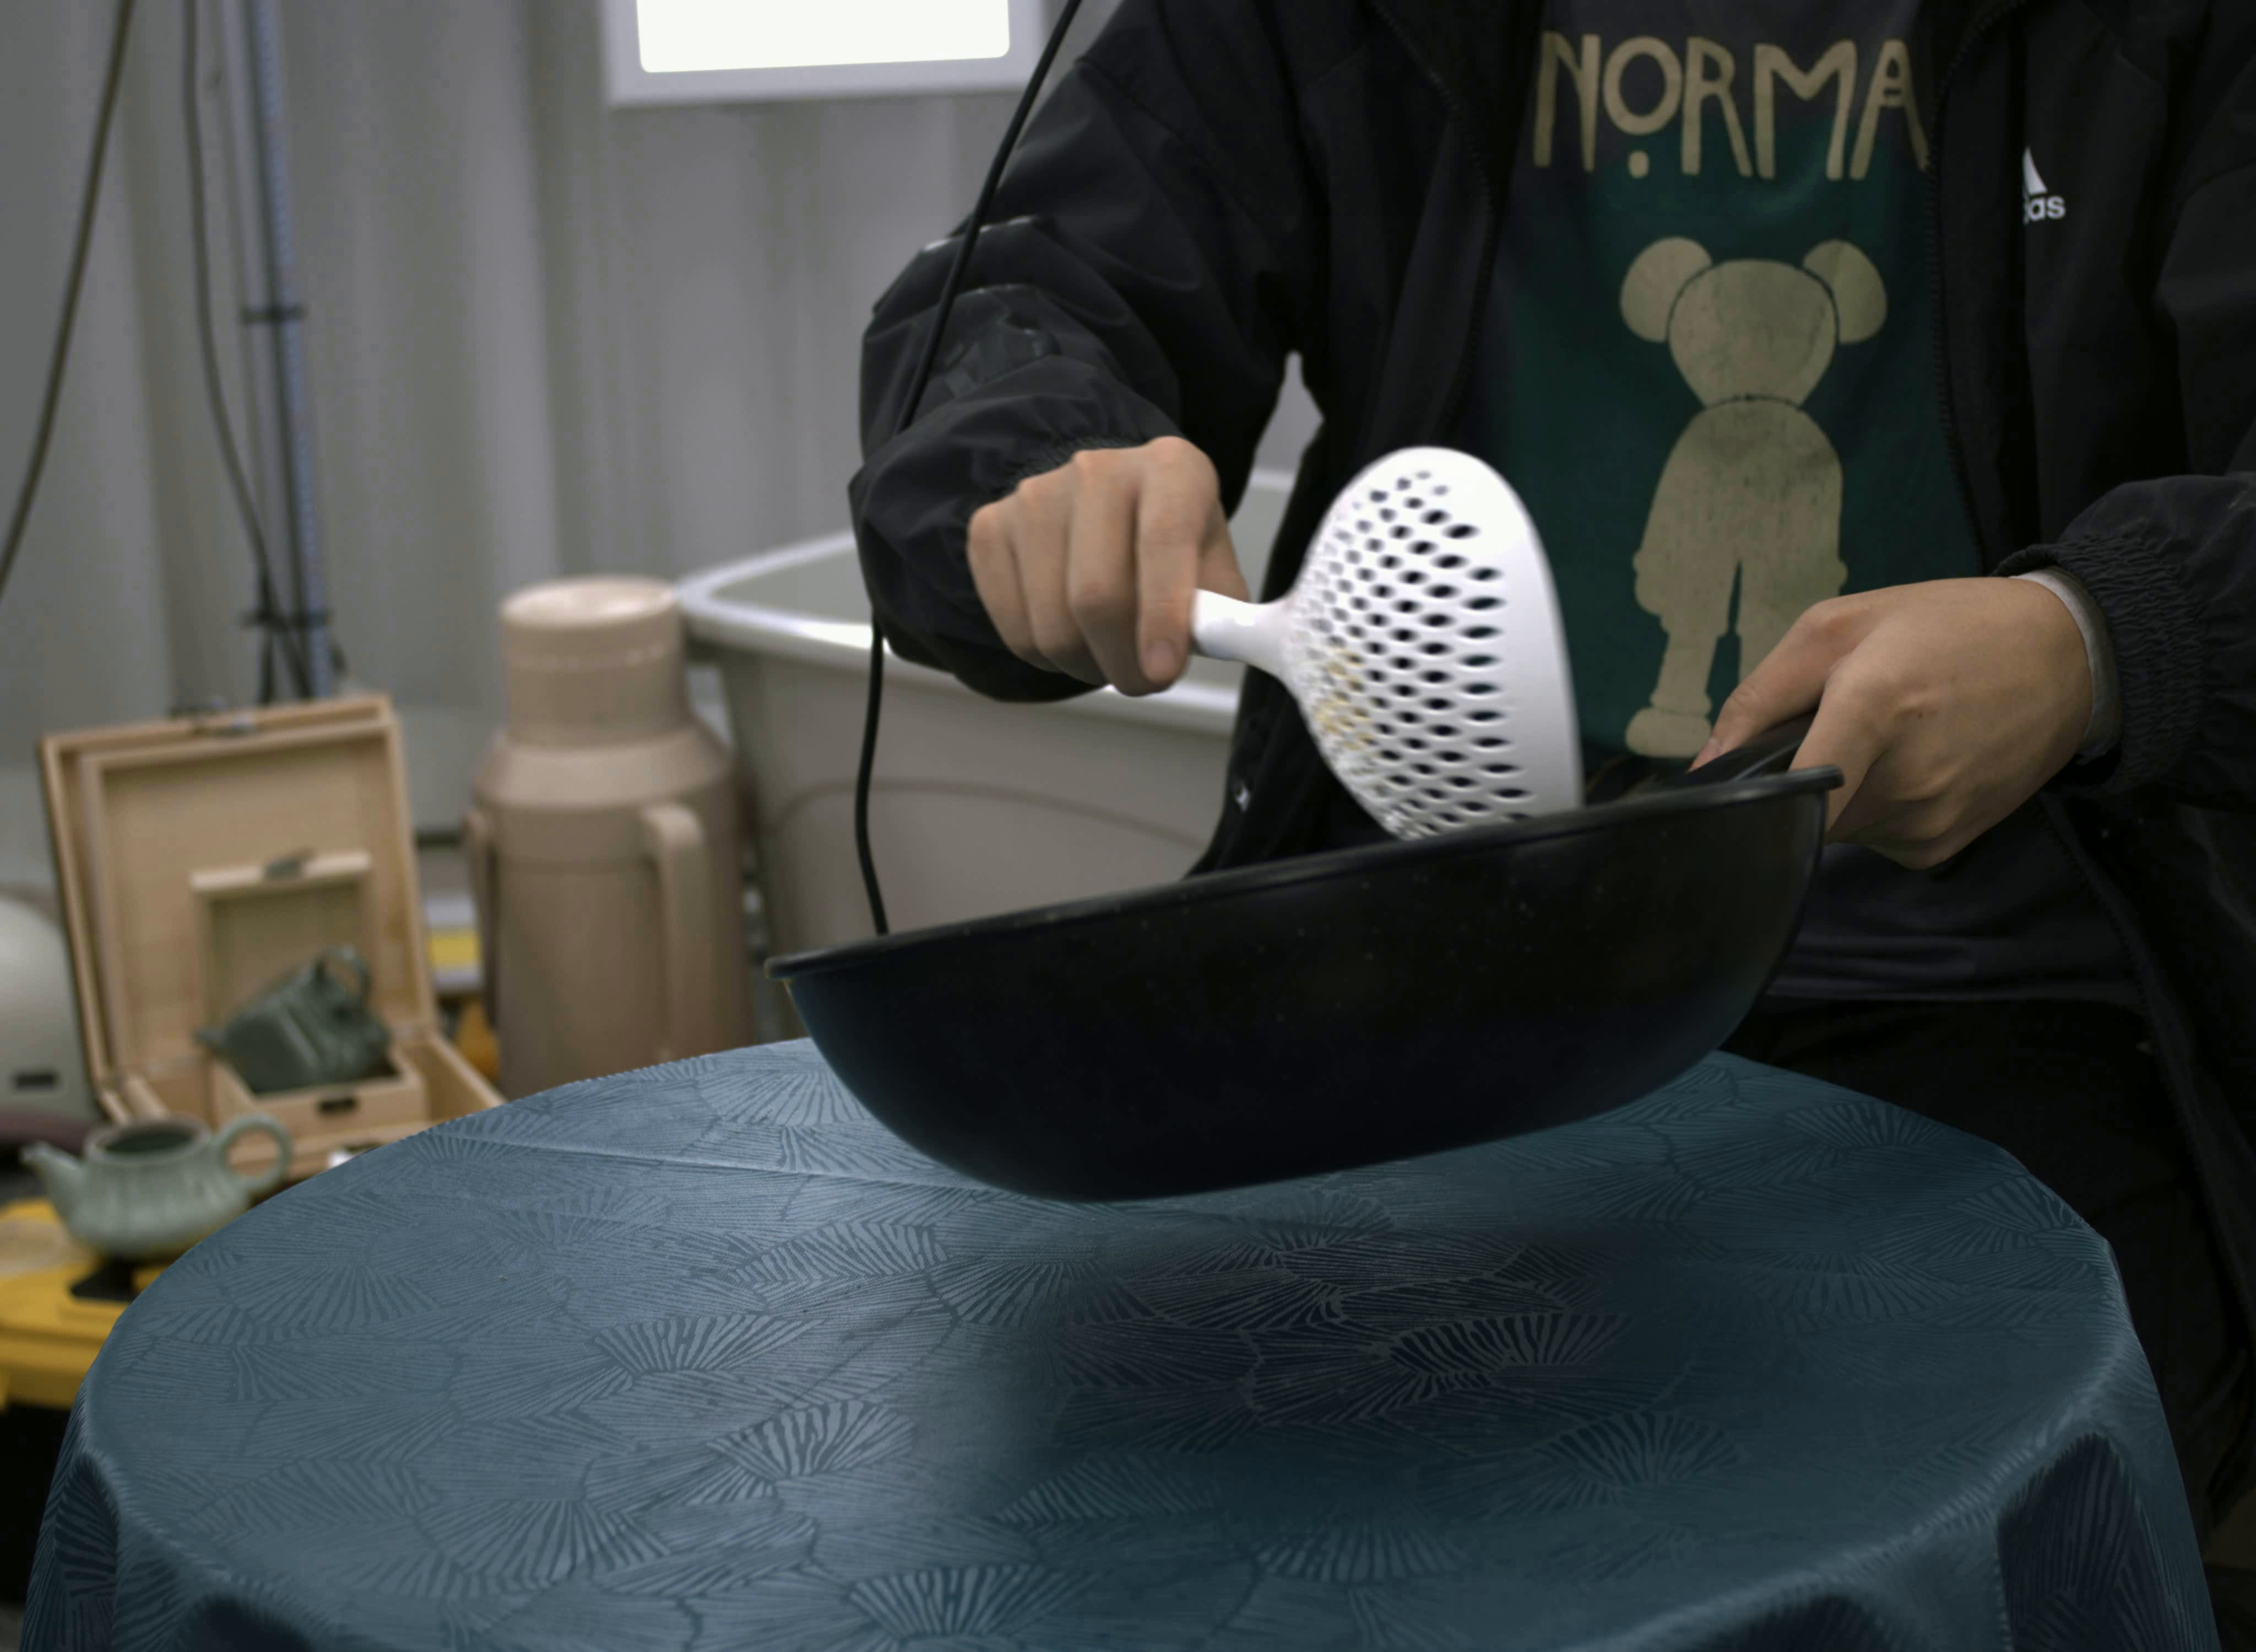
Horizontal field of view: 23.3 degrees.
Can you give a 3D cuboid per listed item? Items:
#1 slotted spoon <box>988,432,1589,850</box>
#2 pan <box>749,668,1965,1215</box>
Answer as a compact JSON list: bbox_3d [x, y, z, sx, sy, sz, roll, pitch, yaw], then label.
[{"bbox_3d":[0.040,-0.056,1.672,0.050,0.136,0.350,-15,12,-19],"label":"slotted spoon"},{"bbox_3d":[0.107,0.032,1.594,0.310,0.112,0.475,-9,0,44],"label":"pan"}]
